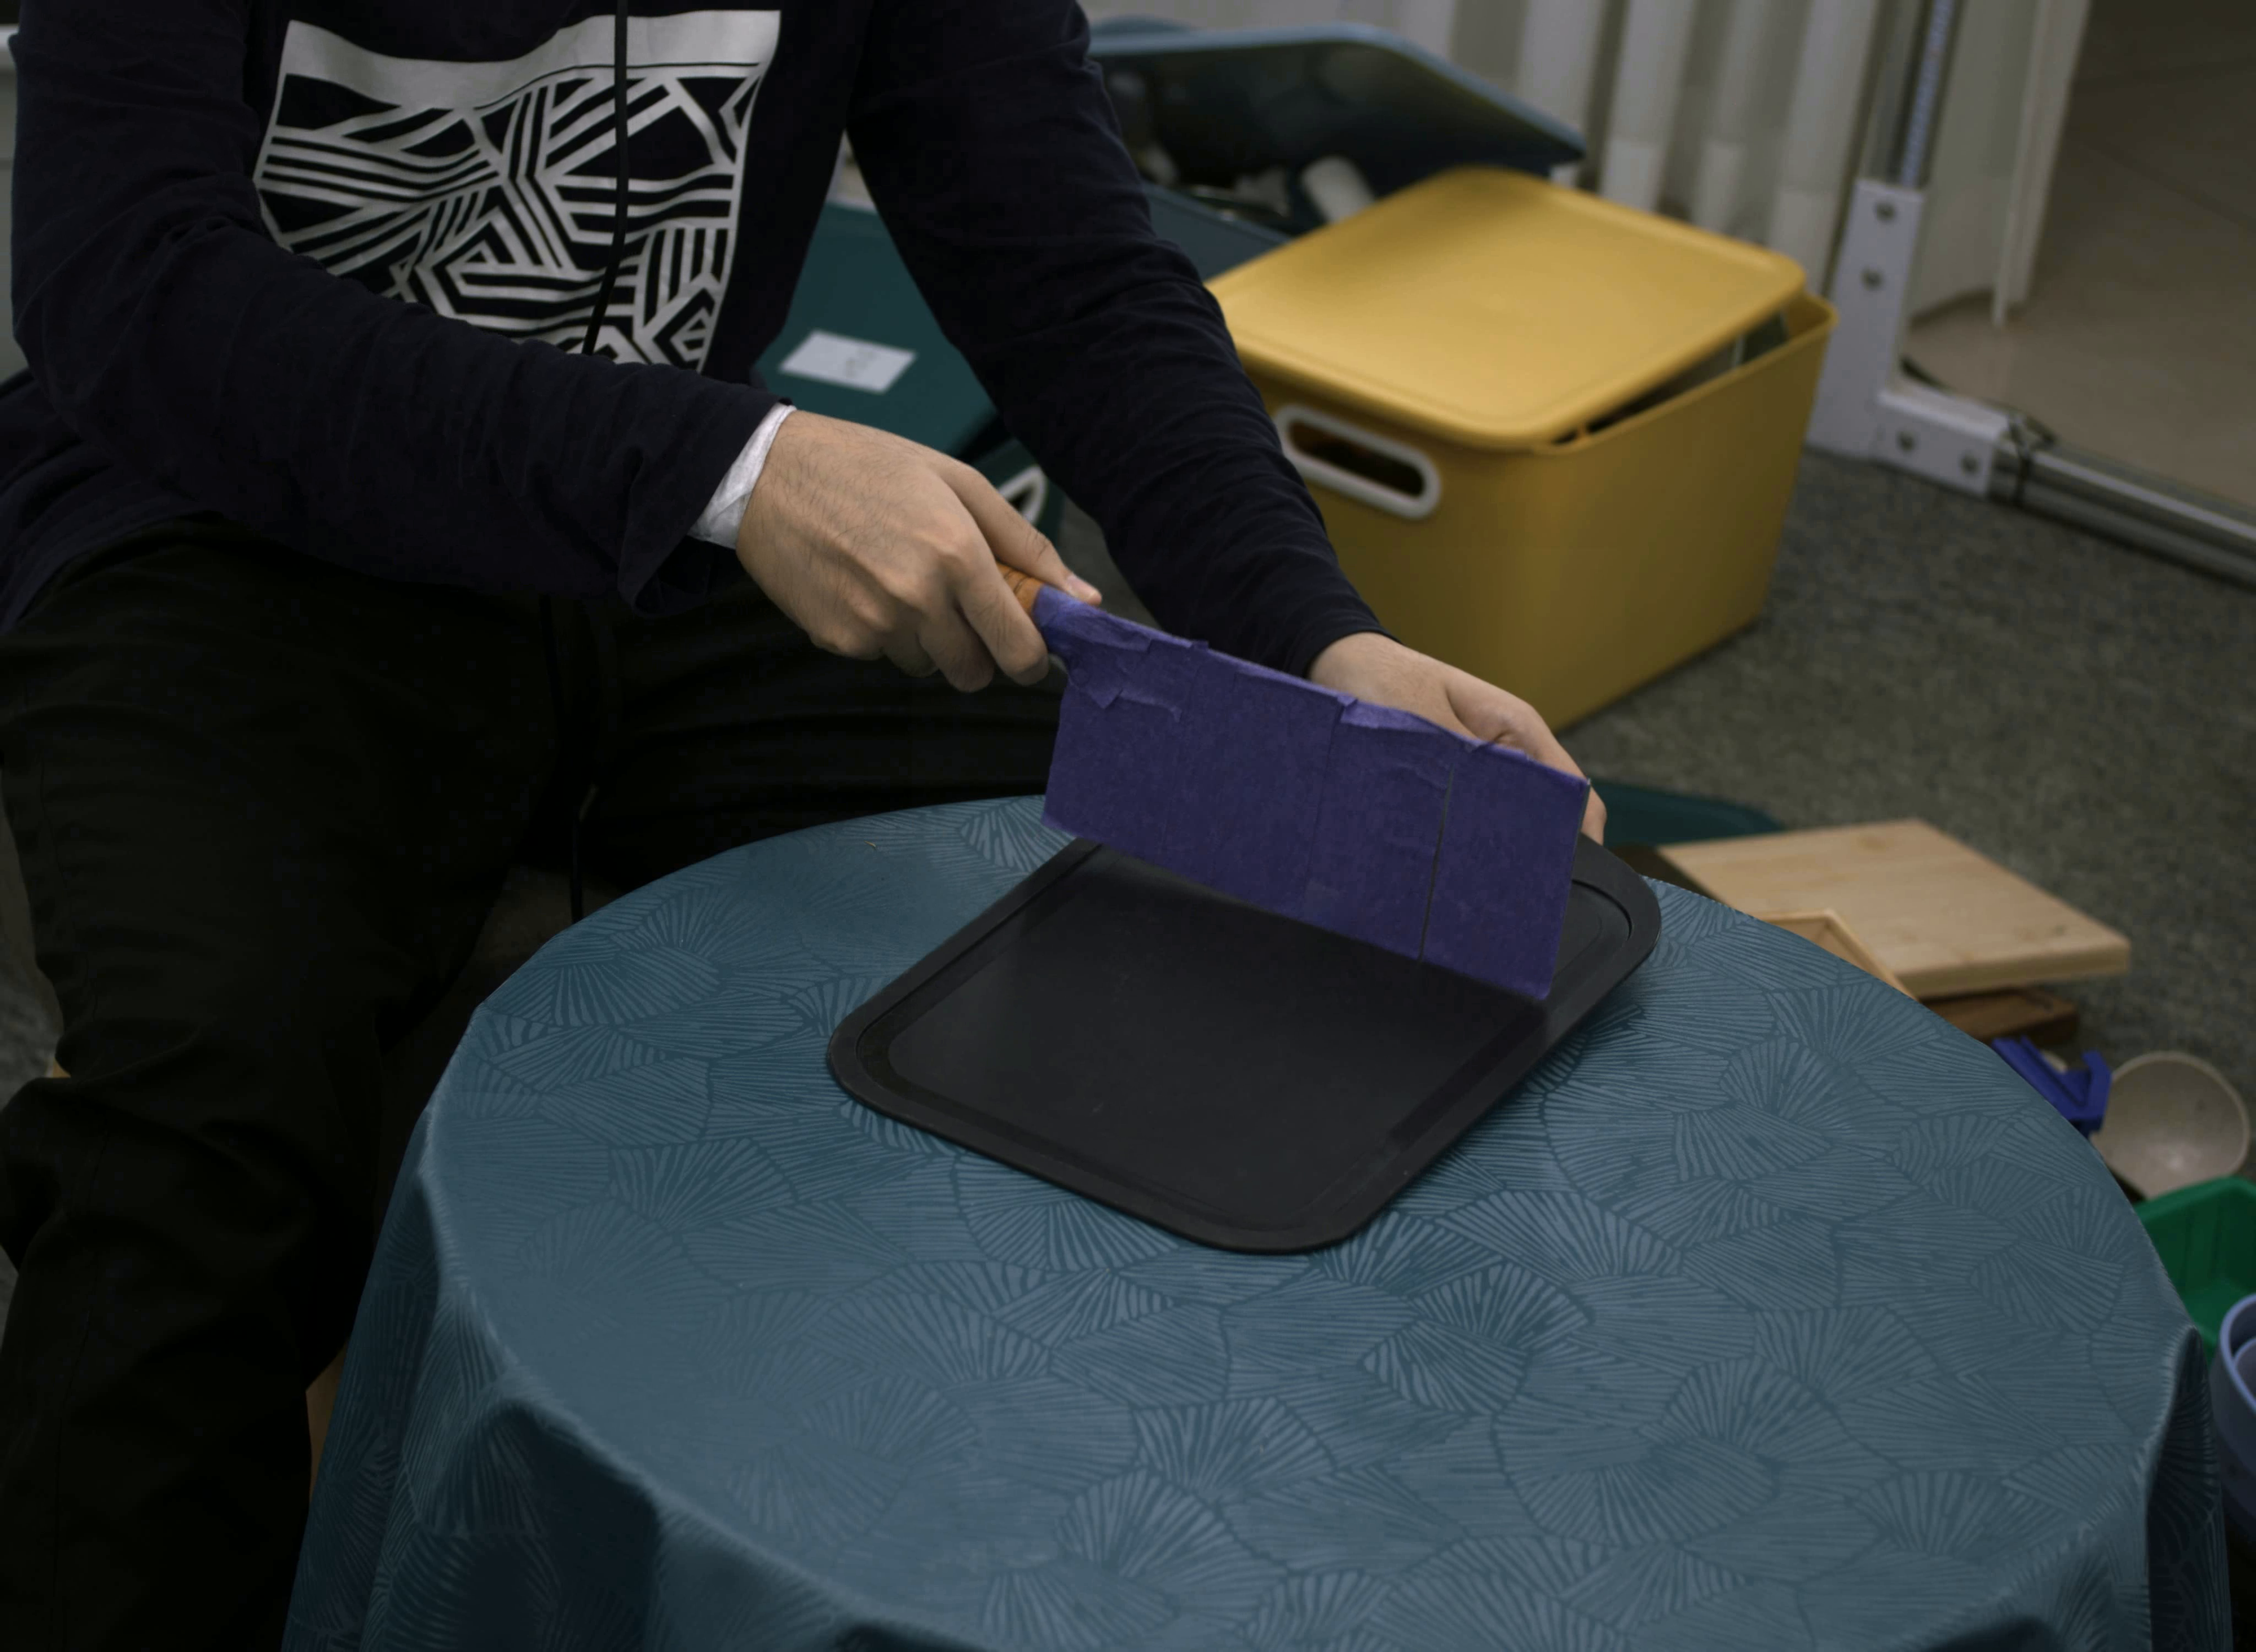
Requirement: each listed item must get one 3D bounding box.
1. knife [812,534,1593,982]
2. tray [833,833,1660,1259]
[{"bbox_3d":[0.019,-0.022,1.956,0.316,0.103,0.032,19,22,23],"label":"knife"},{"bbox_3d":[0.051,0.053,1.928,0.212,0.010,0.325,21,35,25],"label":"tray"}]
